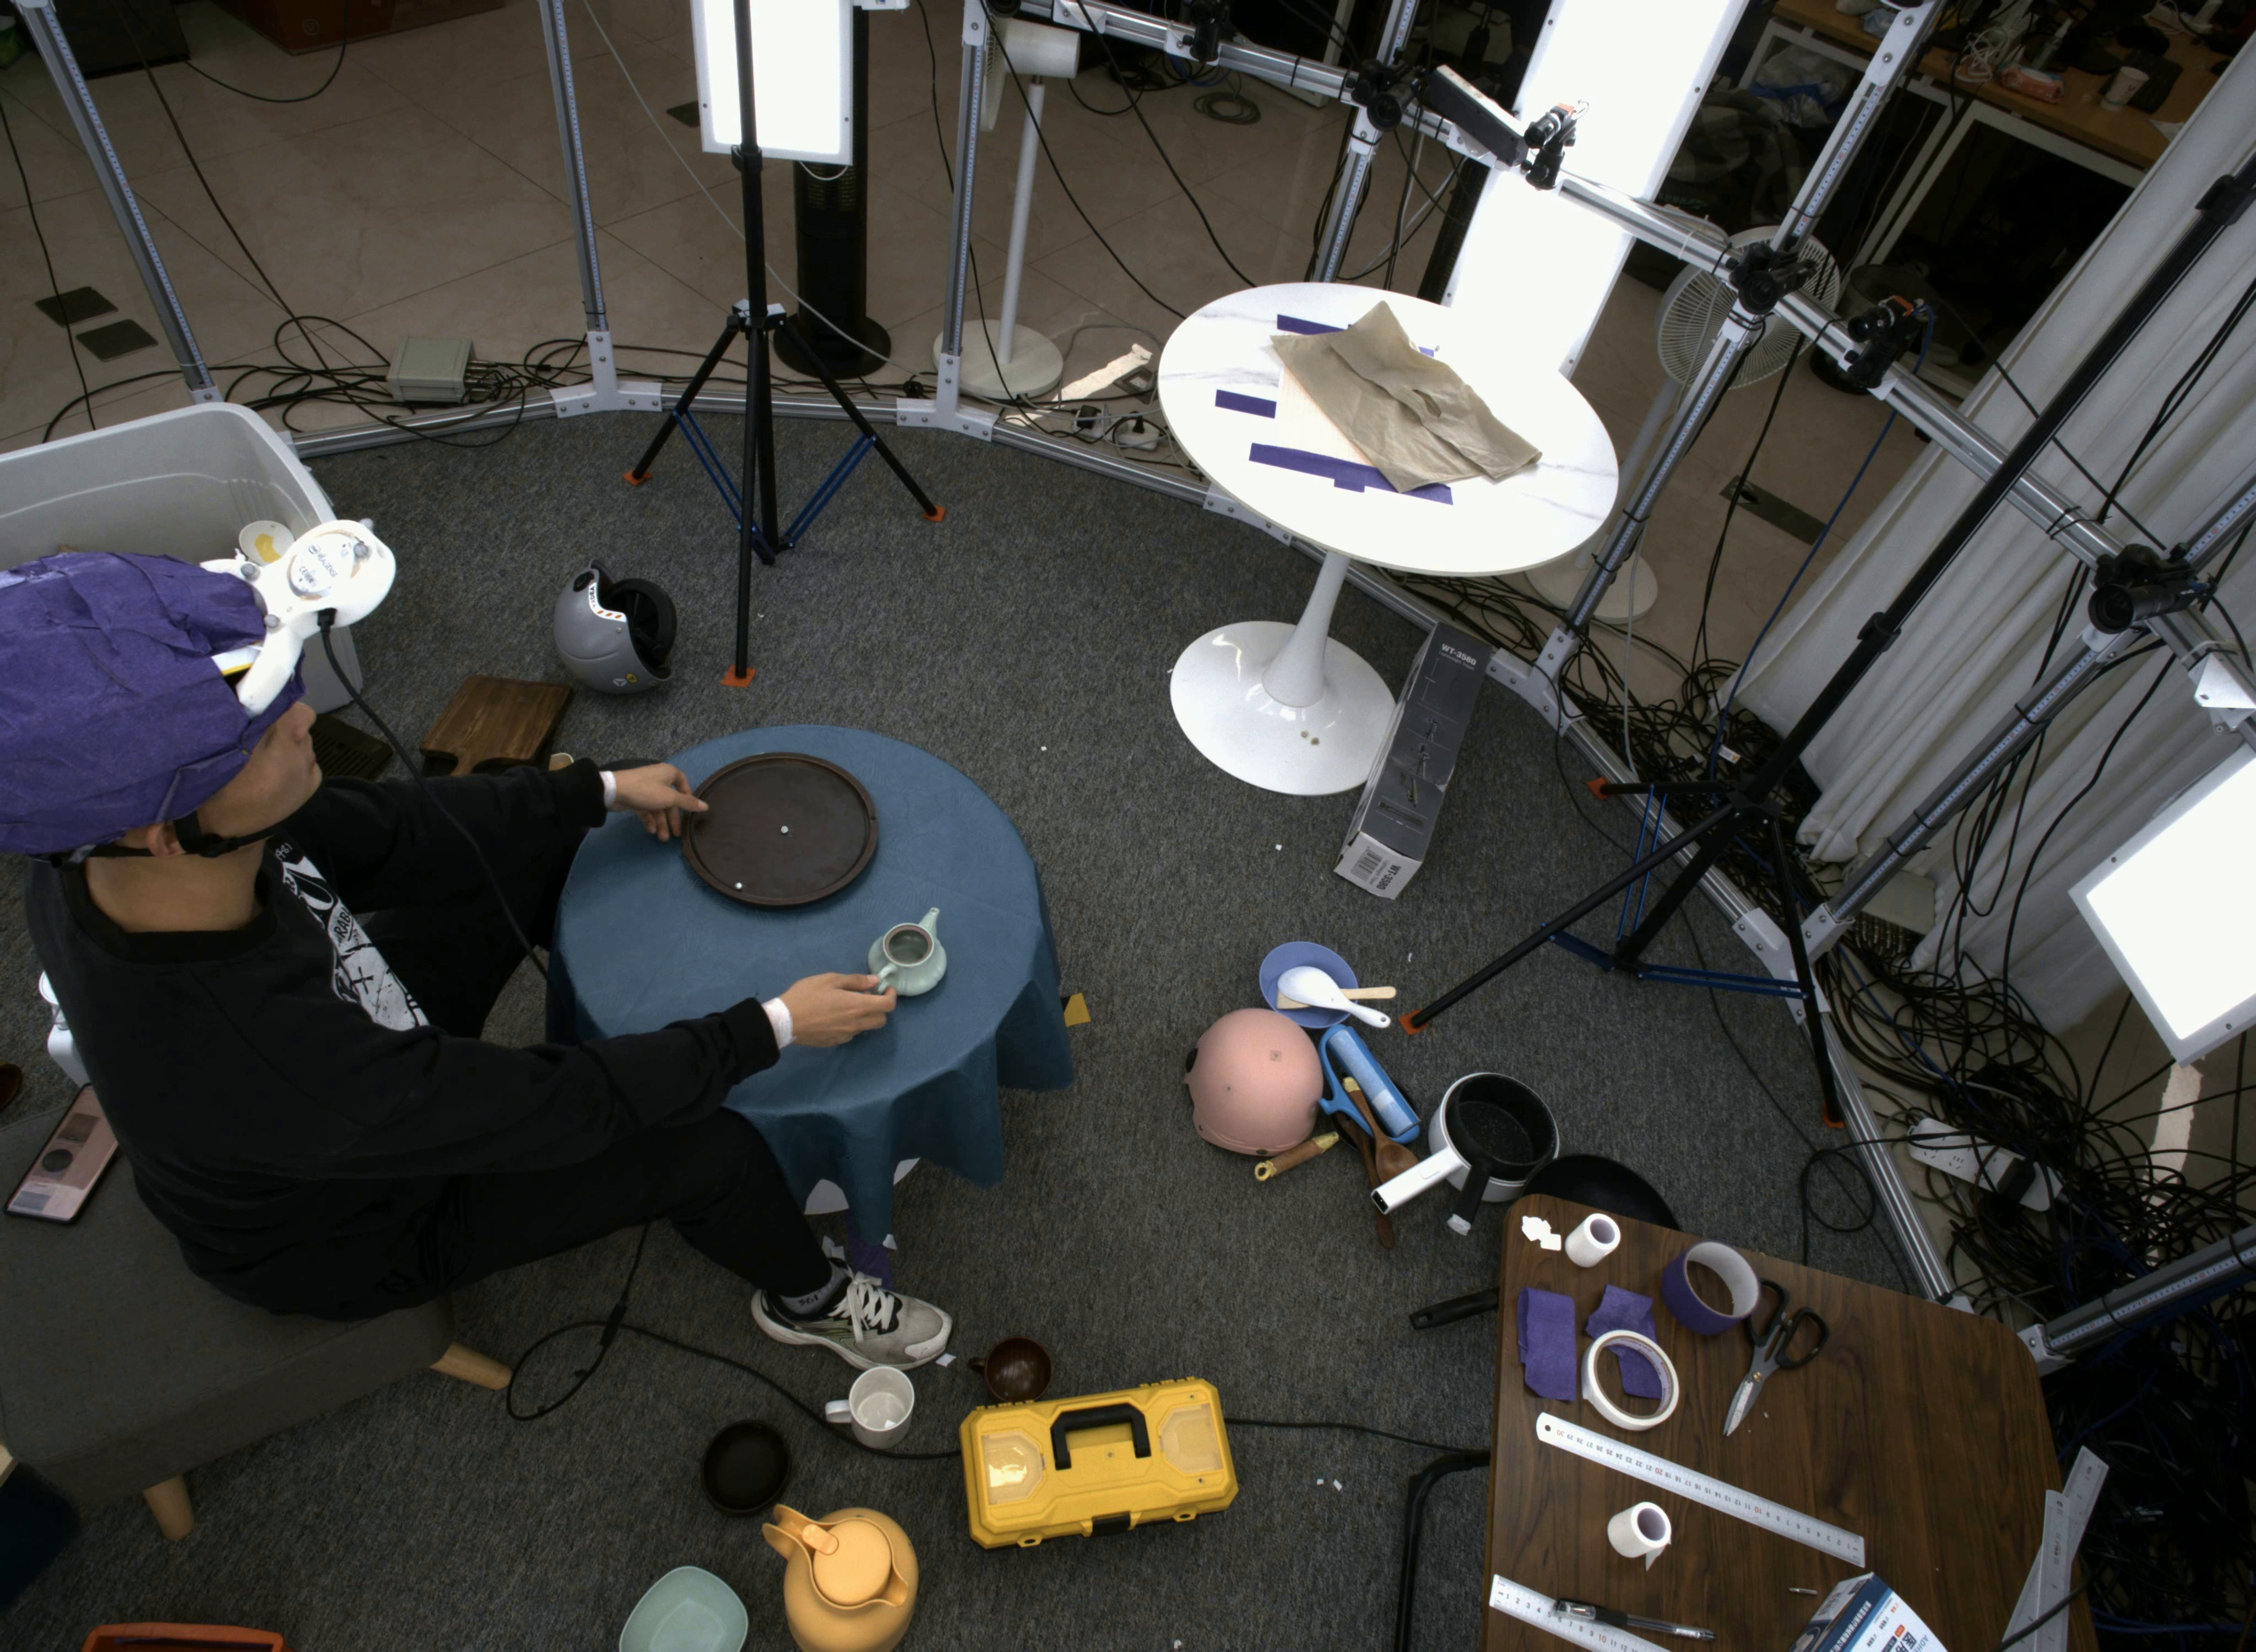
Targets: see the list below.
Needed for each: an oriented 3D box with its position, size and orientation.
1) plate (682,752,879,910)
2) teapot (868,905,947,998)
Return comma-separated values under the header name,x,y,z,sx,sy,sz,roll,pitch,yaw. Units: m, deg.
name,x,y,z,sx,sy,sz,roll,pitch,yaw
plate,-0.454,0.003,1.696,0.254,0.029,0.250,9,52,-10
teapot,-0.273,0.160,1.602,0.095,0.062,0.136,27,52,6
